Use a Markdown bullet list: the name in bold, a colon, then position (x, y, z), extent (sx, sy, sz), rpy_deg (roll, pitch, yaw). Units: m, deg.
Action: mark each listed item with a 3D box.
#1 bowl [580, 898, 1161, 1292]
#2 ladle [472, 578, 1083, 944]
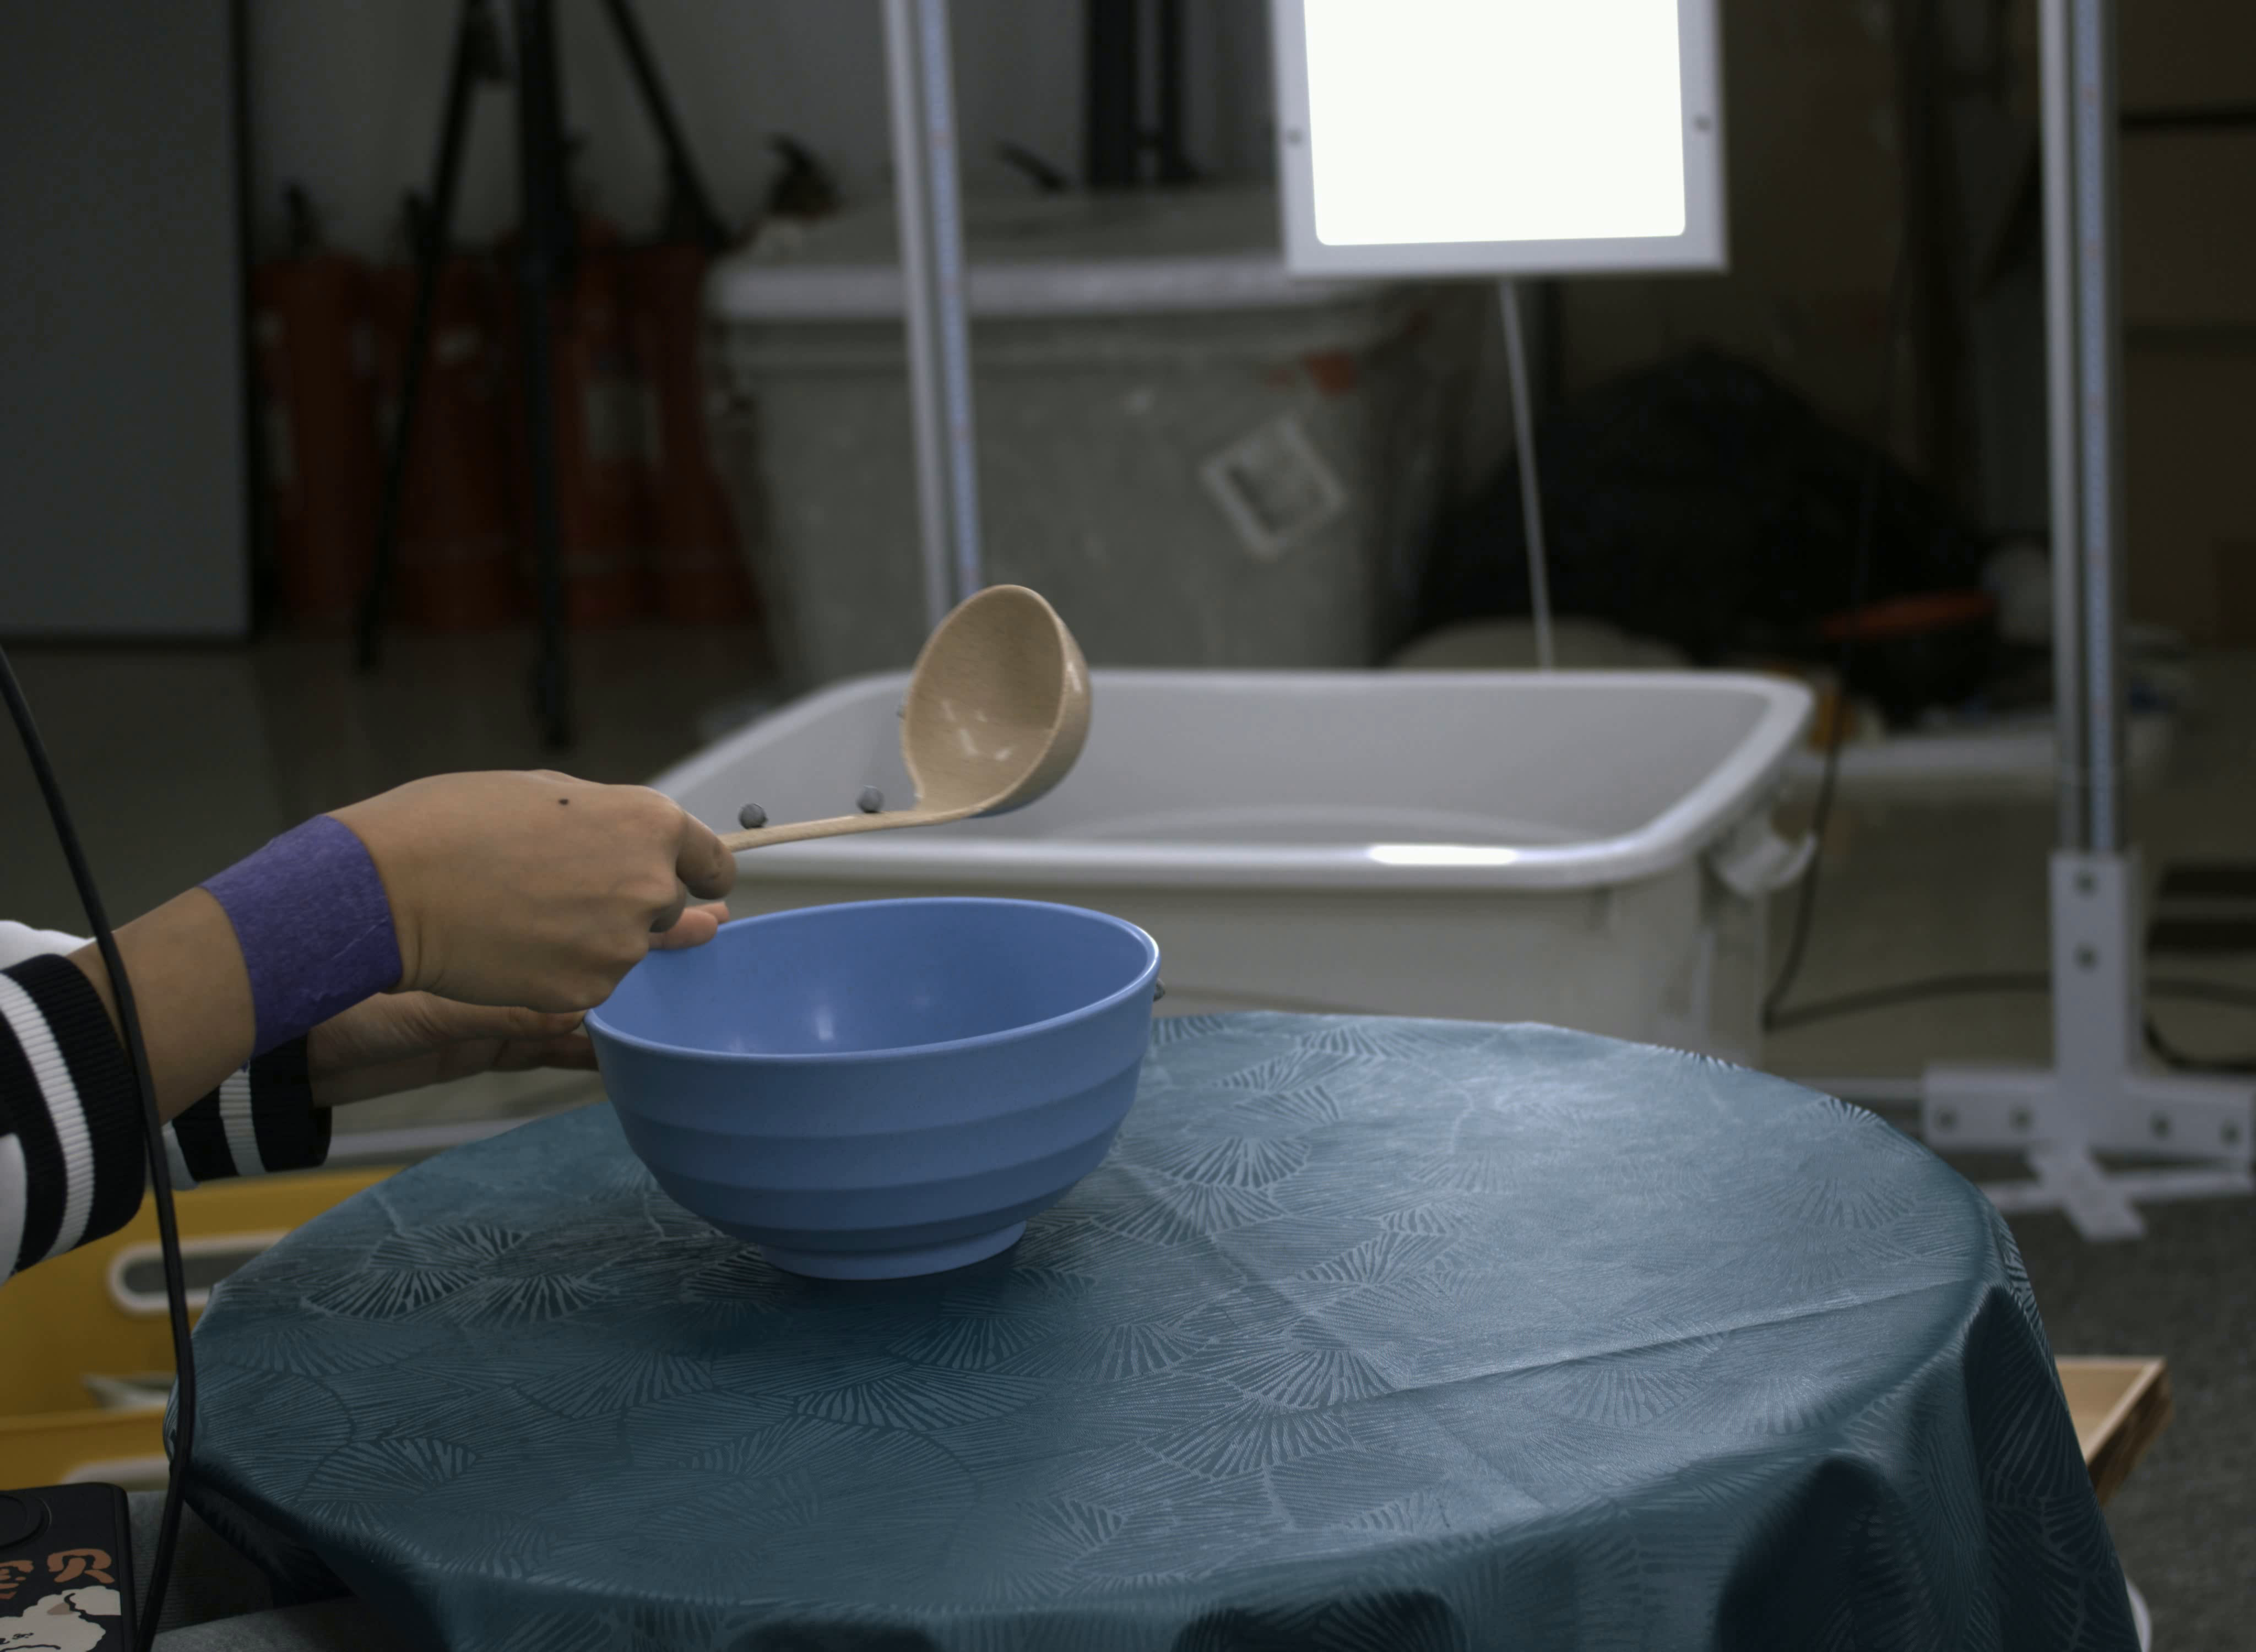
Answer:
- **bowl**: position (-0.083, 0.097, 1.862), extent (0.196, 0.096, 0.196), rpy_deg (-5, 15, 0)
- **ladle**: position (-0.111, -0.024, 1.696), extent (0.074, 0.073, 0.248), rpy_deg (2, 12, 42)
